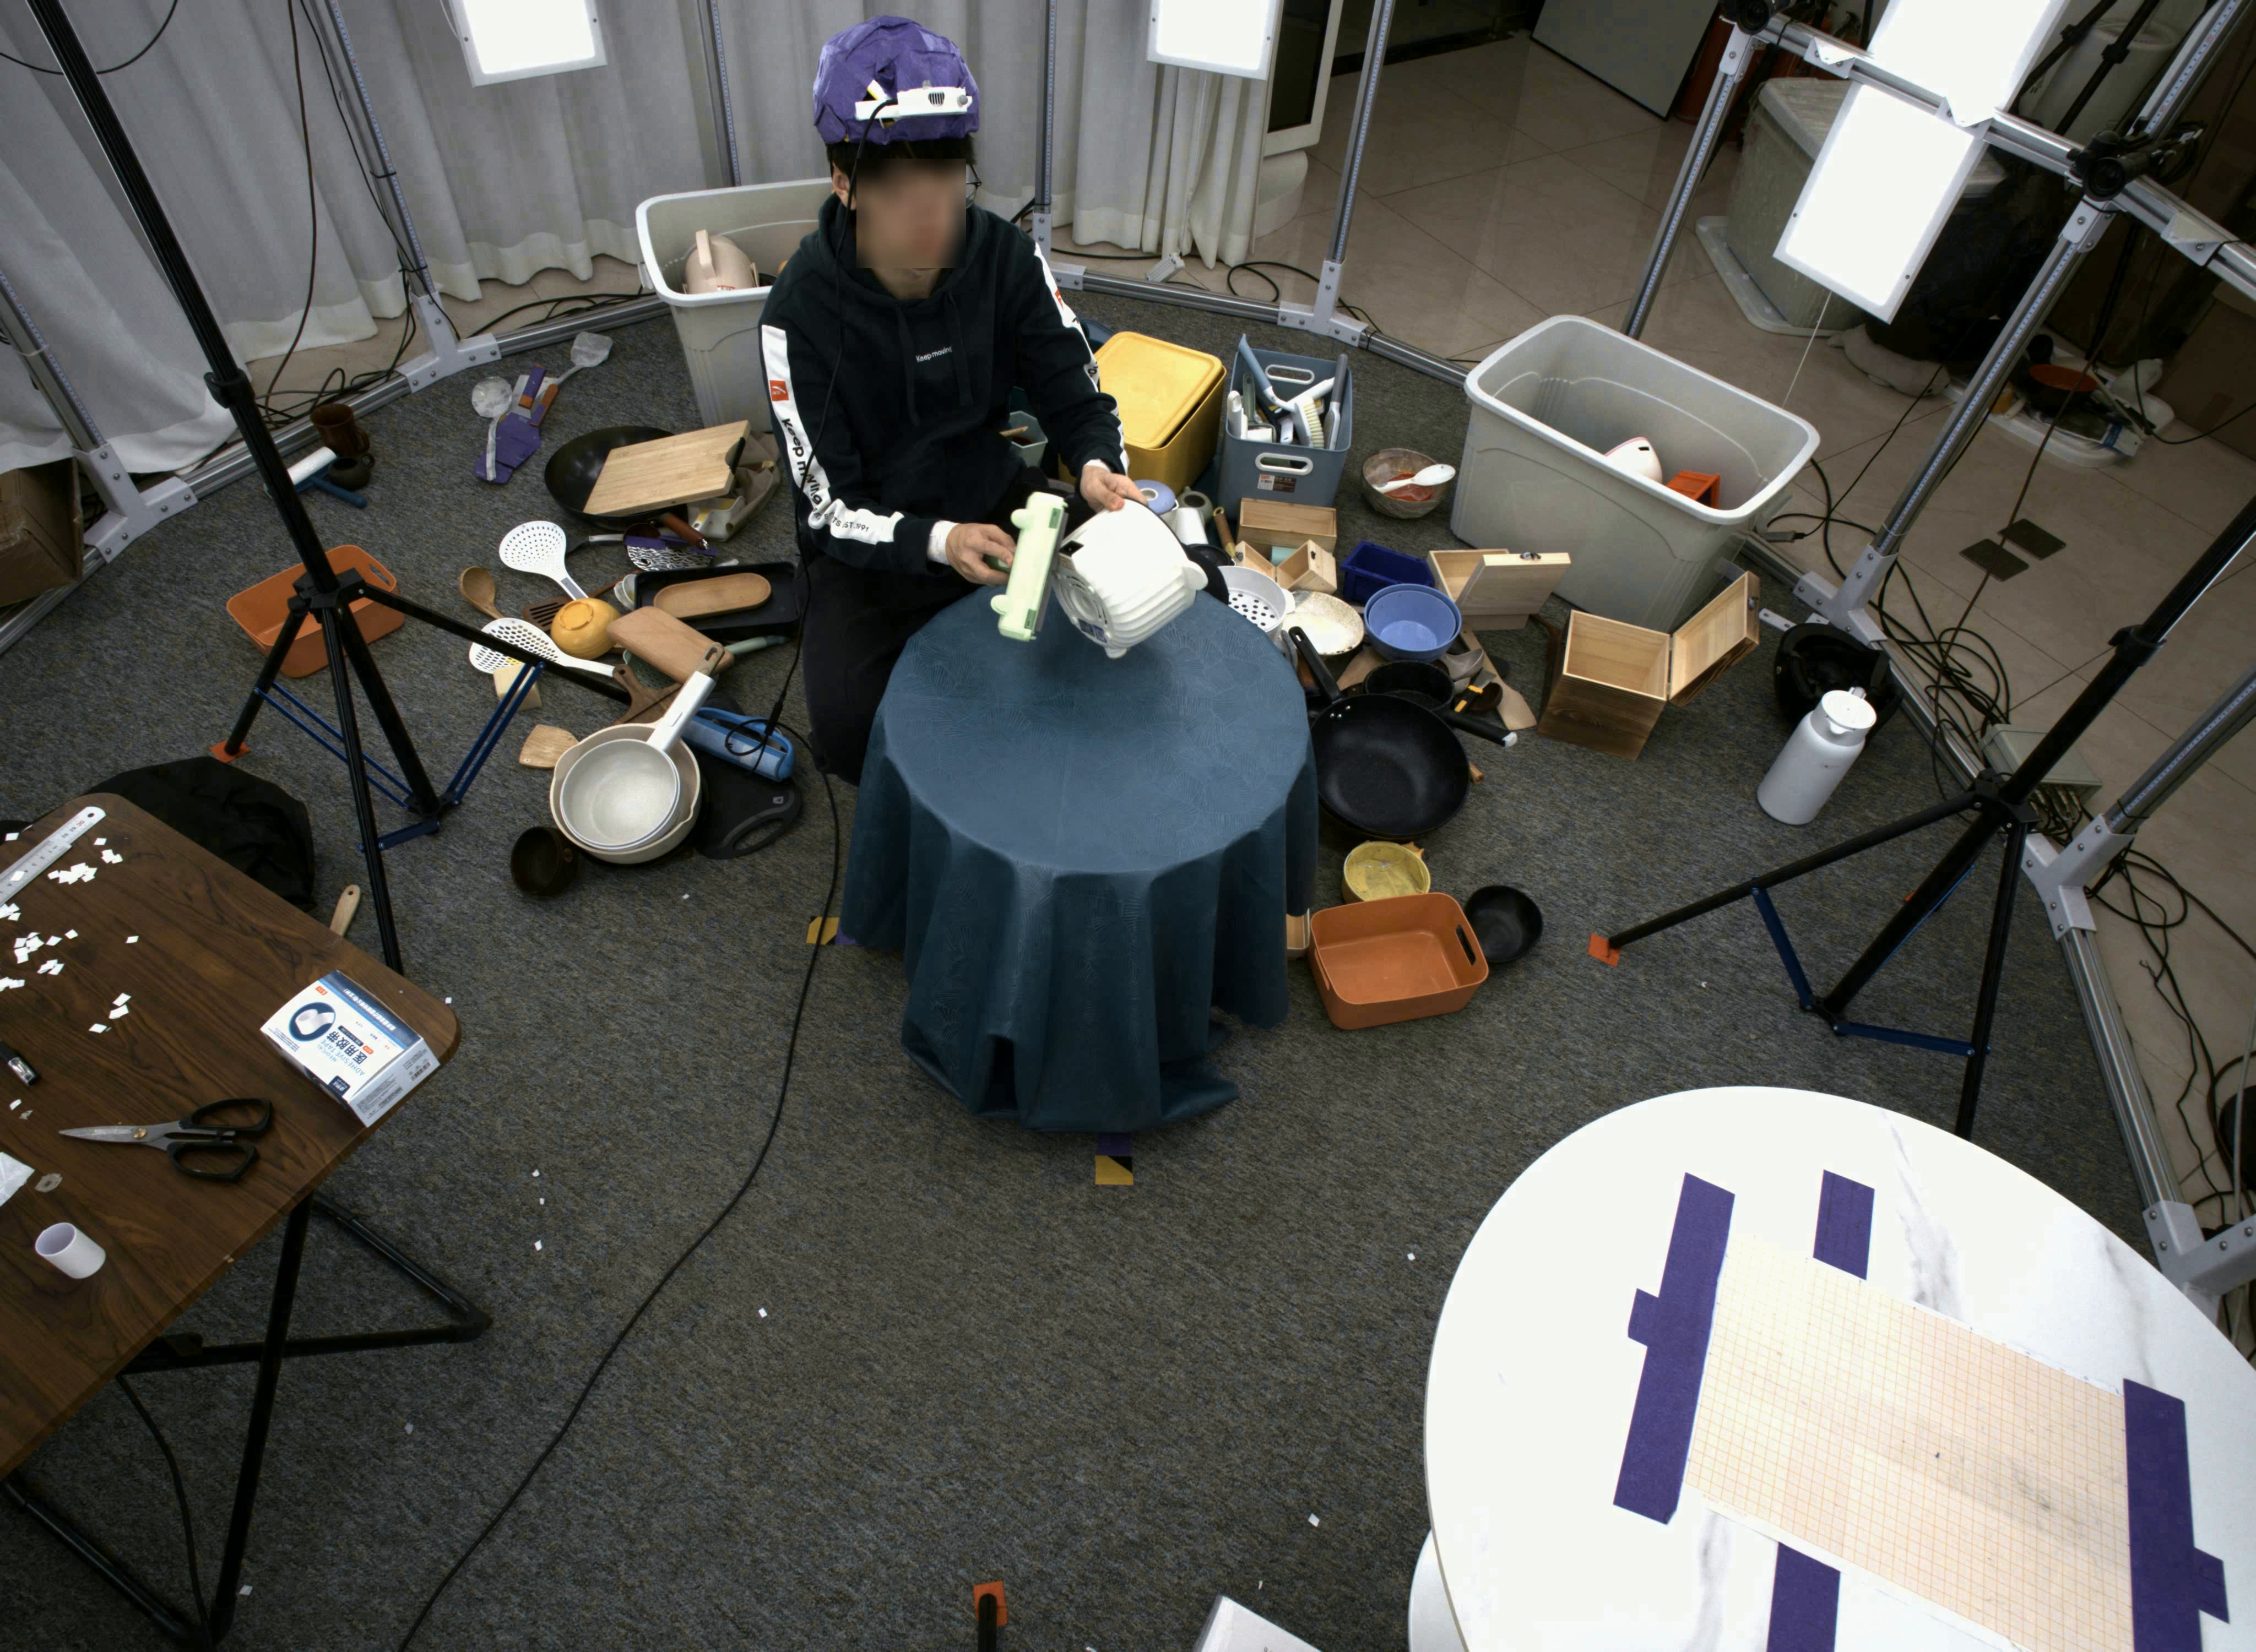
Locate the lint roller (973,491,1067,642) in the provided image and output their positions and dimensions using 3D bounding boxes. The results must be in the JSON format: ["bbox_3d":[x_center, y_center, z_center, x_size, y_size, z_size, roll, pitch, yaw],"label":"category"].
[{"bbox_3d":[-0.171,-0.362,1.754,0.185,0.198,0.081,20,7,41],"label":"lint roller"}]

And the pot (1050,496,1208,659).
[{"bbox_3d":[-0.014,-0.339,1.791,0.143,0.186,0.244,-41,44,-17],"label":"pot"}]
